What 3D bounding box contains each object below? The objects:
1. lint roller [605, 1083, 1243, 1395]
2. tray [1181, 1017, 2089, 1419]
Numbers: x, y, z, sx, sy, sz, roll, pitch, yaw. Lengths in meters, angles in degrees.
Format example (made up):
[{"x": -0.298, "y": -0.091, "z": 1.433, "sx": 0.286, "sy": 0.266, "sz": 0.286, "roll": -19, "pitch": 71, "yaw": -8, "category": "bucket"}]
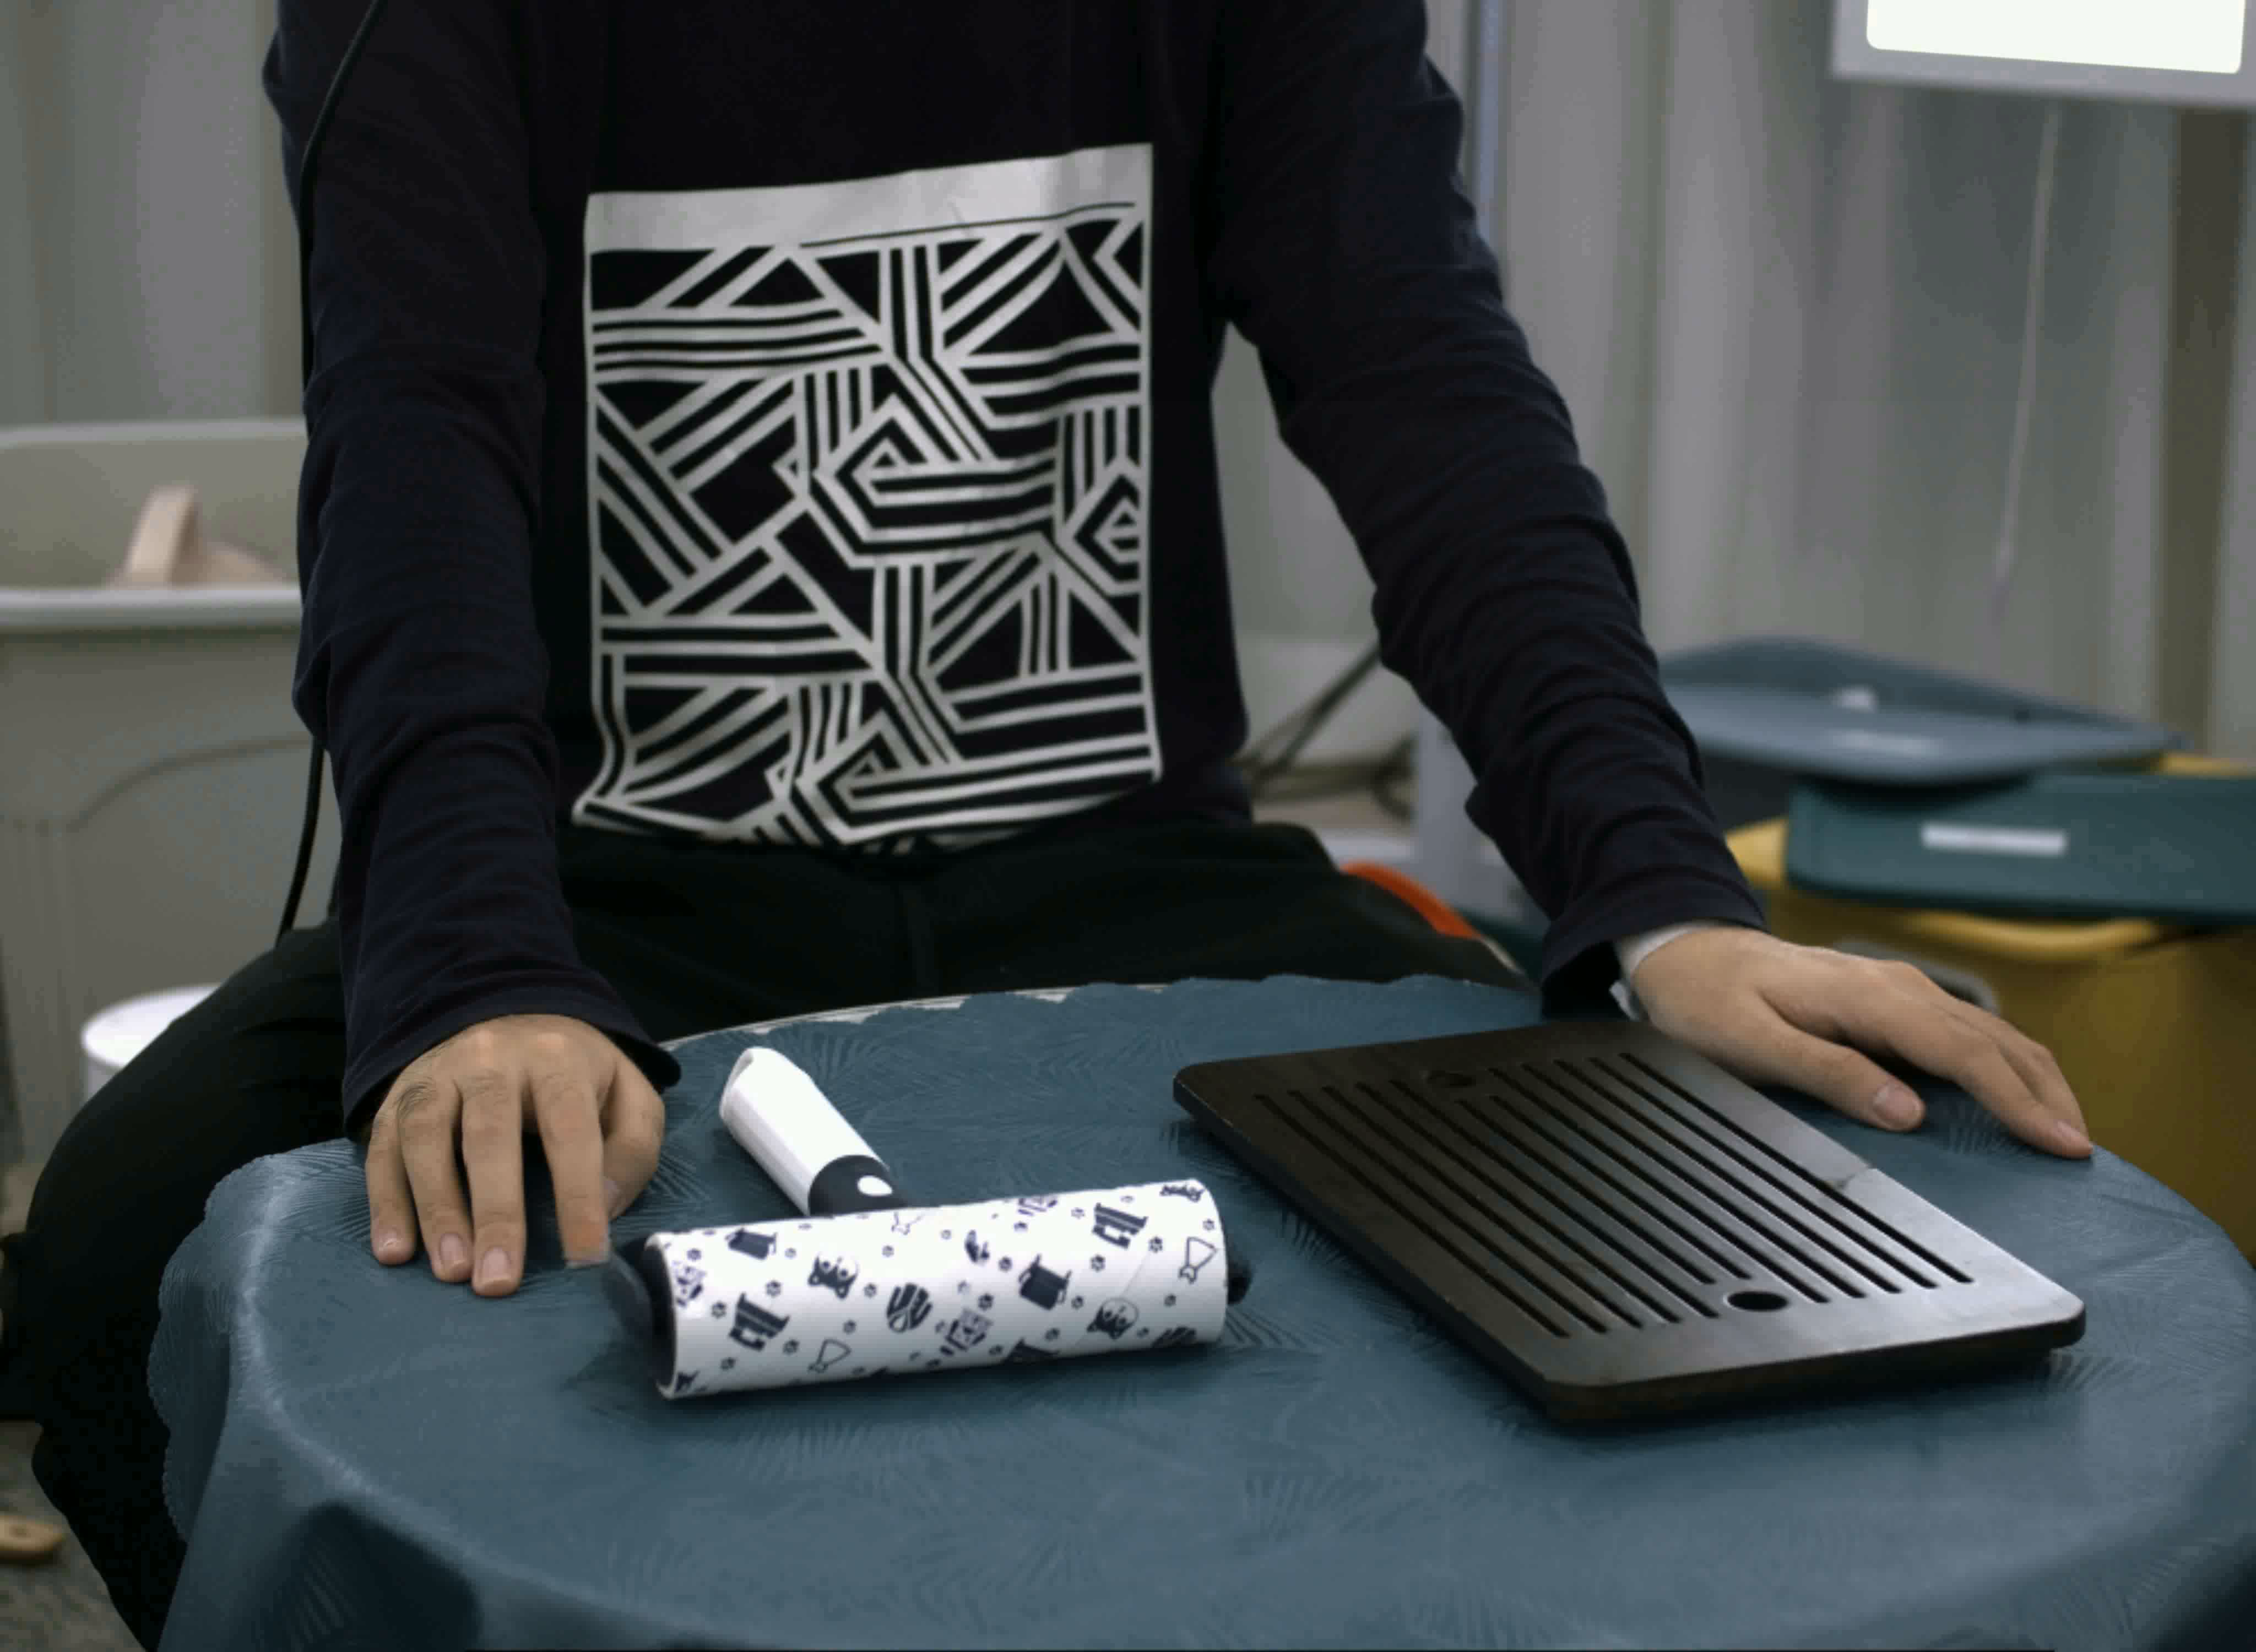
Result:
[{"x": -0.086, "y": 0.107, "z": 1.566, "sx": 0.176, "sy": 0.051, "sz": 0.244, "roll": -5, "pitch": 13, "yaw": -18, "category": "lint roller"}, {"x": 0.144, "y": 0.114, "z": 1.589, "sx": 0.170, "sy": 0.019, "sz": 0.302, "roll": -6, "pitch": 16, "yaw": -19, "category": "tray"}]
